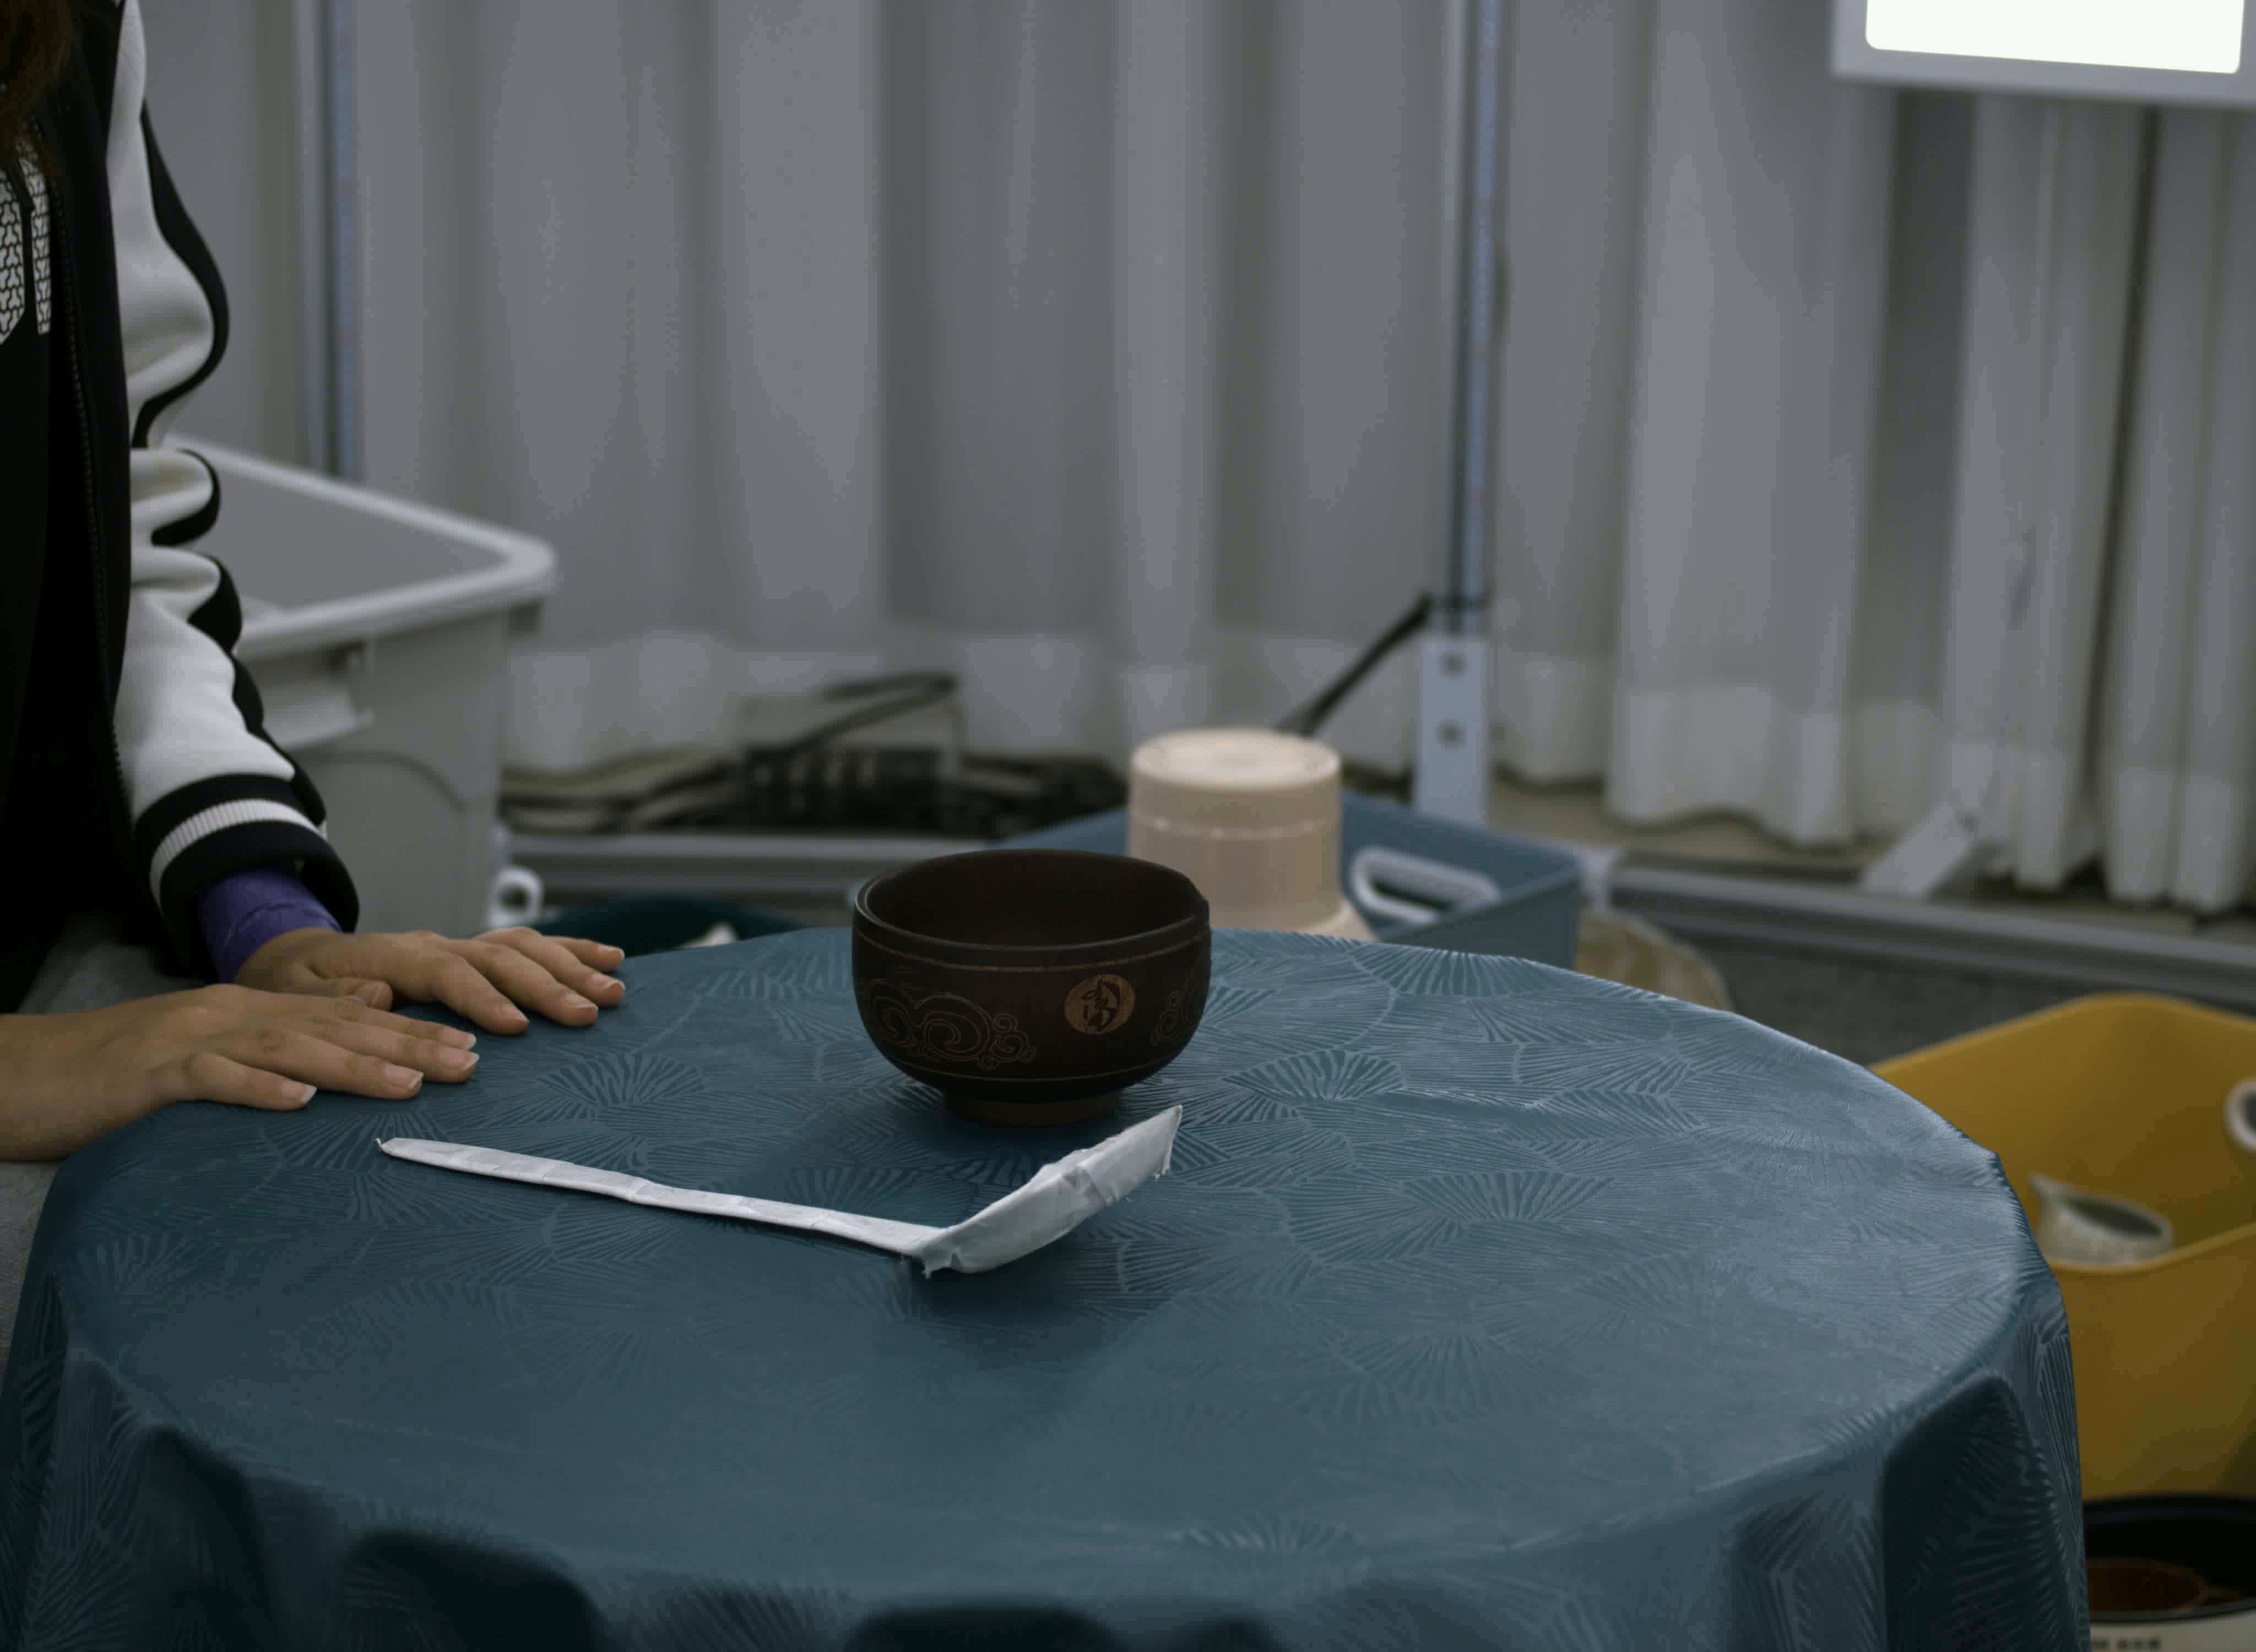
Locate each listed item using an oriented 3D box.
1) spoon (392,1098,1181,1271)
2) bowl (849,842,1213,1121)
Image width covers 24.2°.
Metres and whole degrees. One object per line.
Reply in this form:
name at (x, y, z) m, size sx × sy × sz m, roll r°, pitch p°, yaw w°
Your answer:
spoon at (-0.109, 0.090, 1.592) m, size 0.274 × 0.060 × 0.101 m, roll 9°, pitch 15°, yaw 29°
bowl at (-0.031, 0.053, 1.695) m, size 0.117 × 0.070 × 0.117 m, roll 1°, pitch 16°, yaw 0°
